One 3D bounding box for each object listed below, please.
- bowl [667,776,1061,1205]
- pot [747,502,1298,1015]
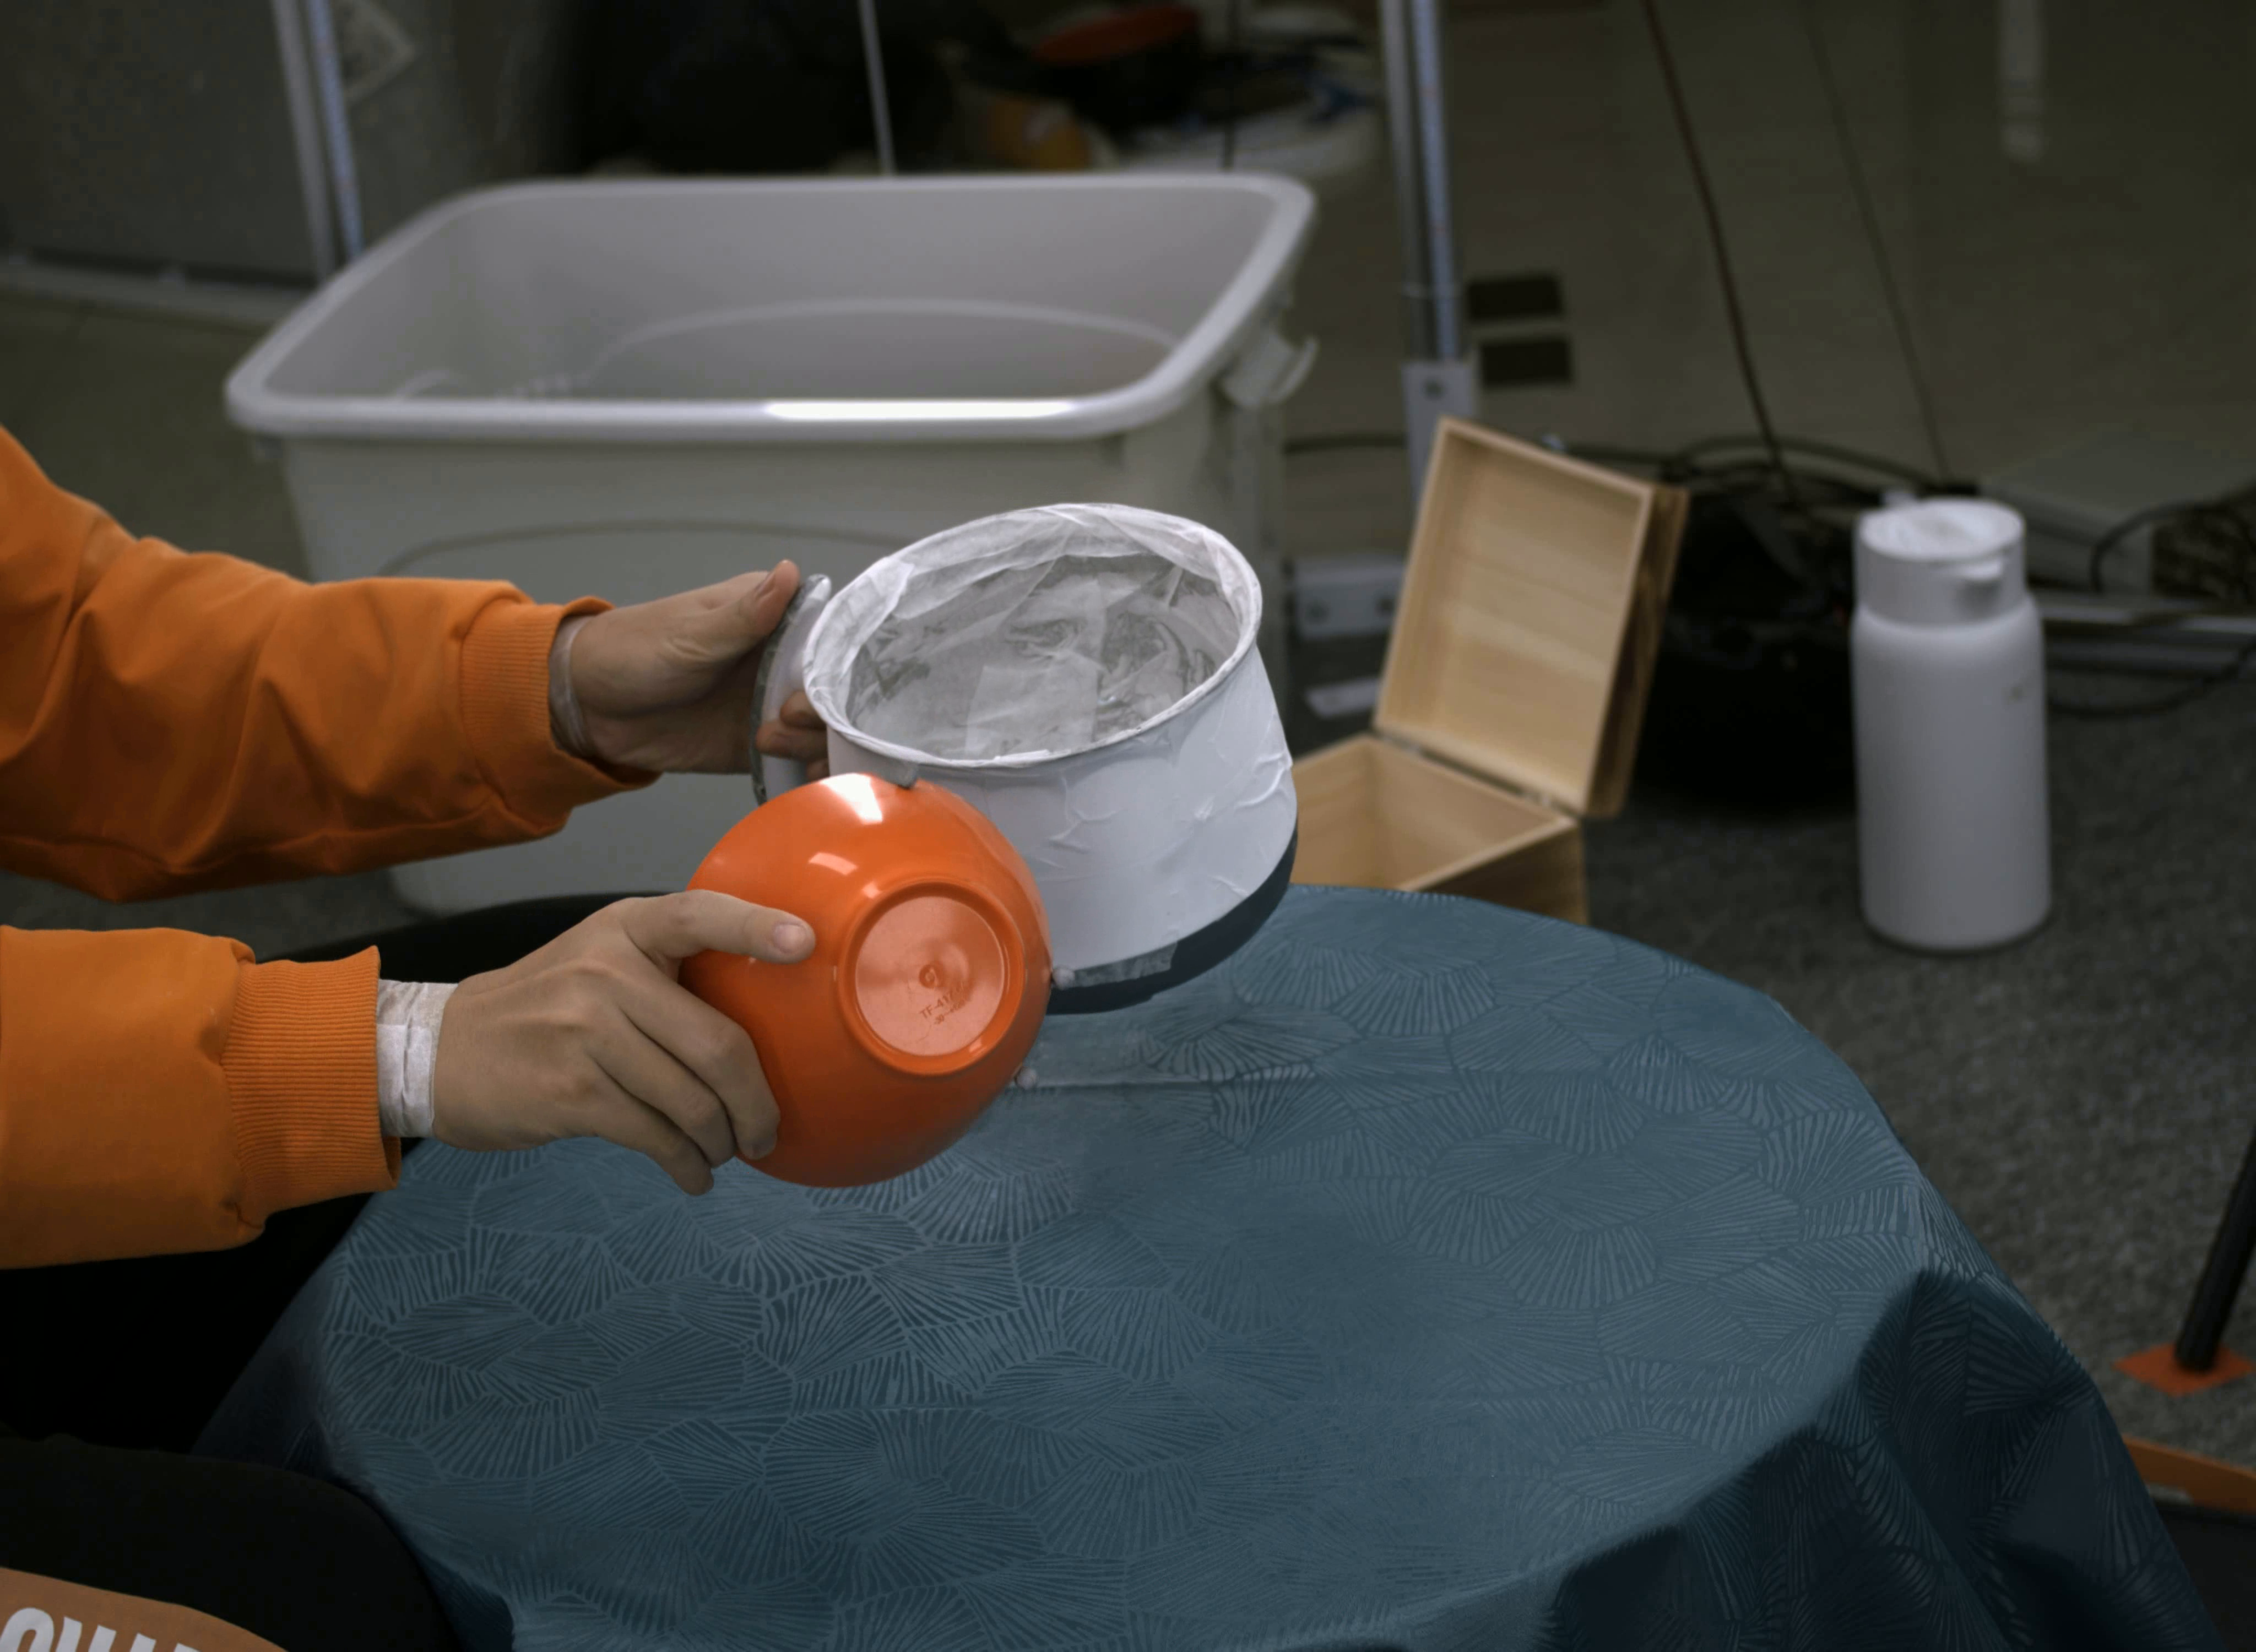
[{"bbox_3d":[-0.076,0.054,1.922,0.147,0.148,0.105,-17,4,-22],"label":"bowl"},{"bbox_3d":[-0.051,-0.028,2.180,0.232,0.139,0.176,12,41,29],"label":"pot"}]
